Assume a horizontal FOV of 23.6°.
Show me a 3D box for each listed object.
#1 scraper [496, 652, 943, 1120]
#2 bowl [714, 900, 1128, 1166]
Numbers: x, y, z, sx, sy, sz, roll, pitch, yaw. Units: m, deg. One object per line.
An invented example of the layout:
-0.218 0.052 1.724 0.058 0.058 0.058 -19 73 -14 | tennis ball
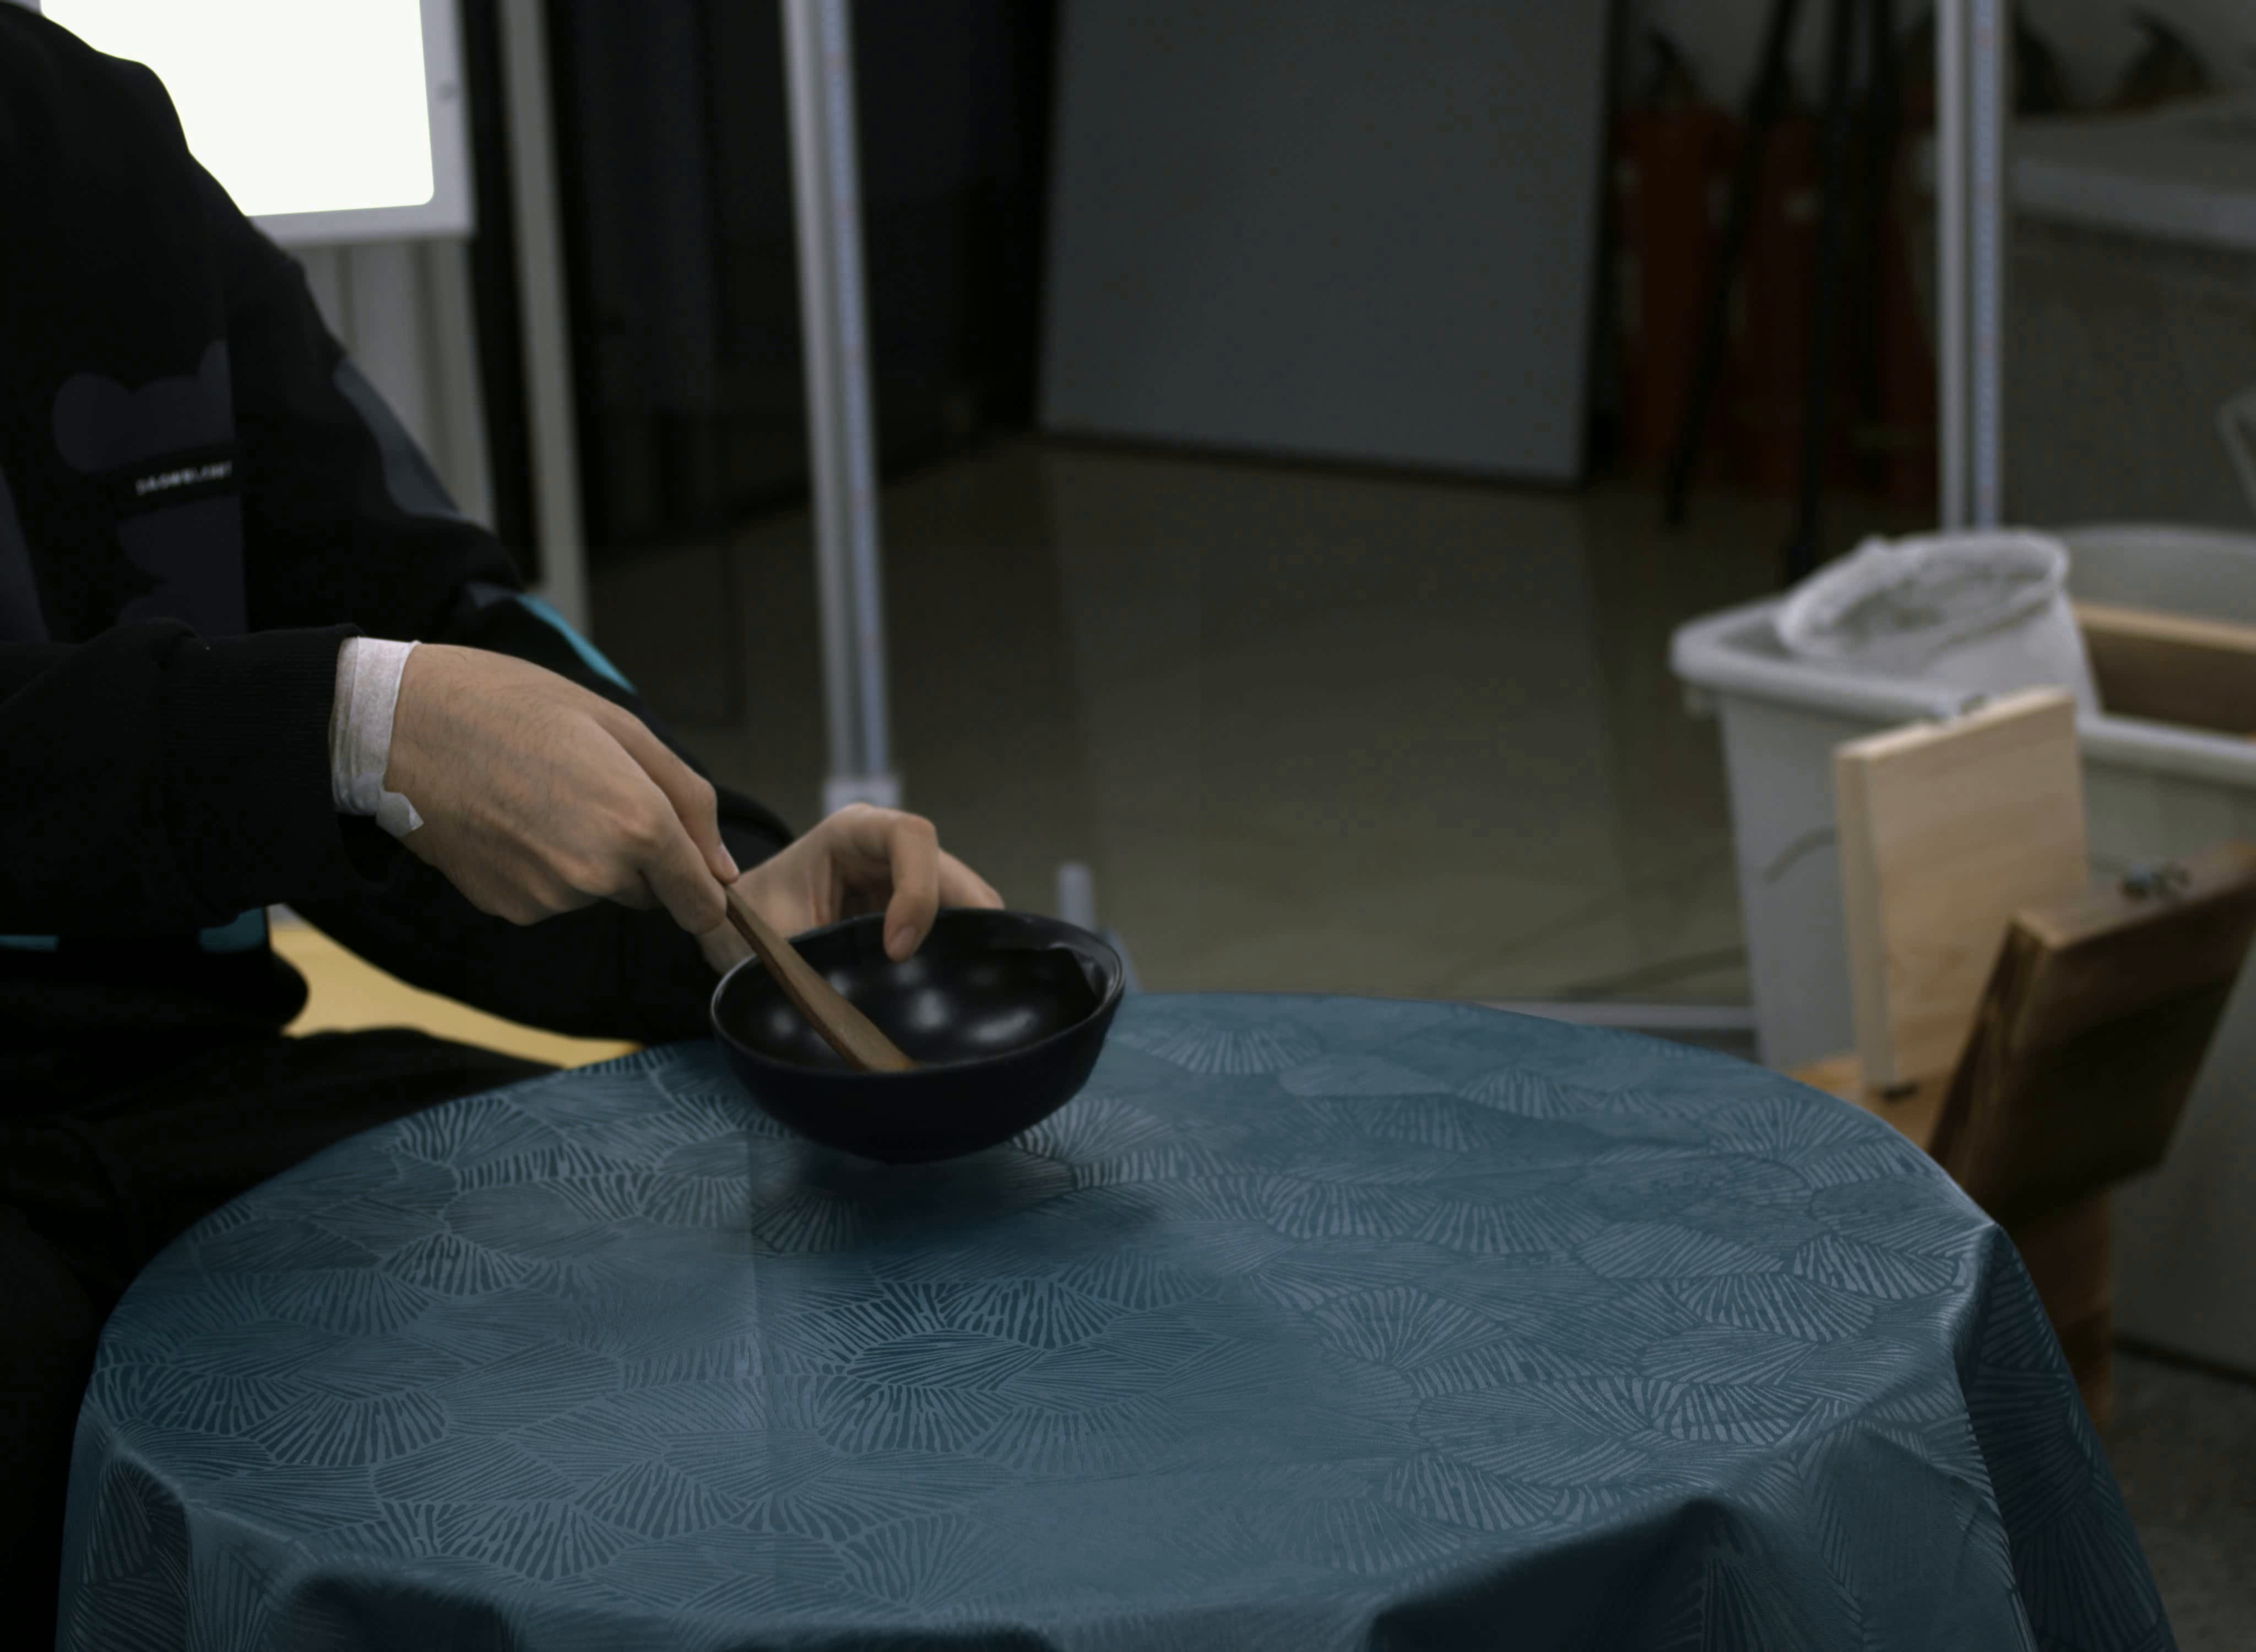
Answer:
-0.132 0.021 1.764 0.011 0.211 0.075 -44 -3 3 | scraper
-0.066 0.075 1.784 0.138 0.050 0.140 -6 22 2 | bowl
